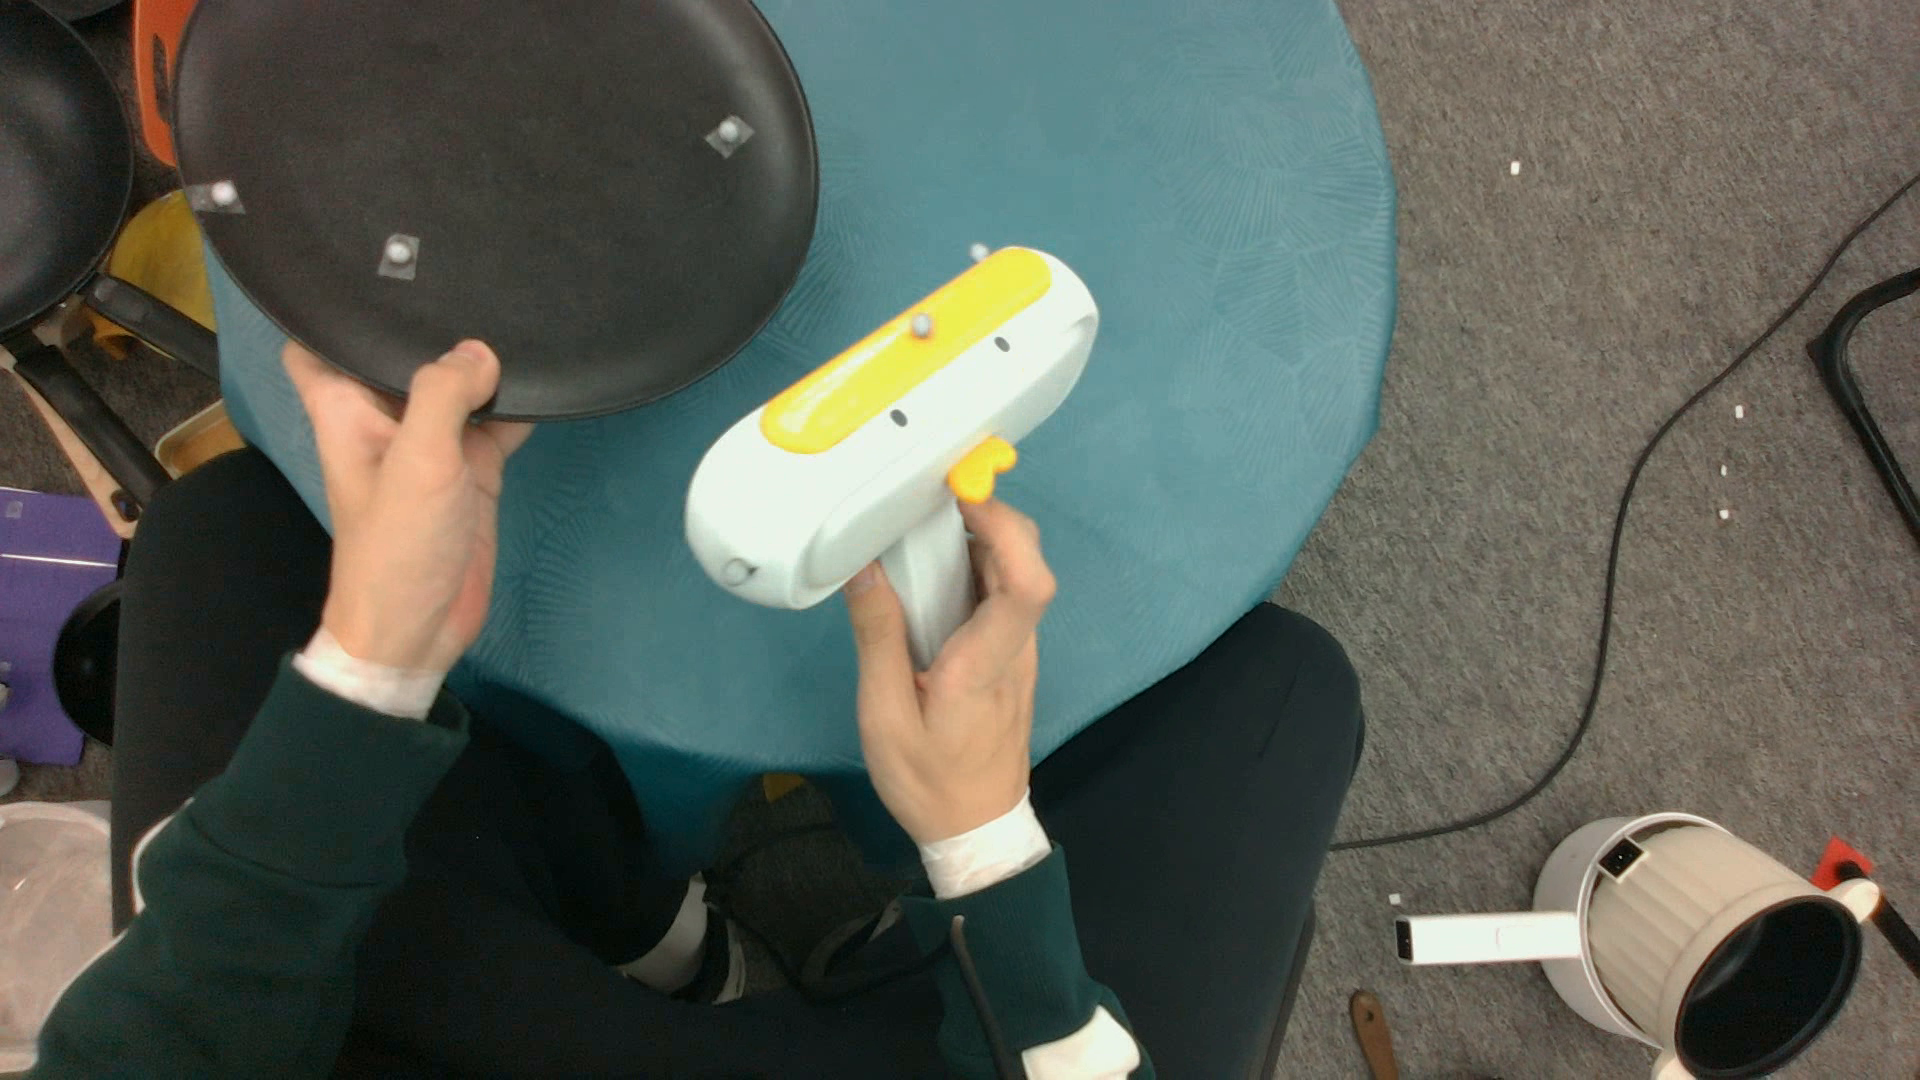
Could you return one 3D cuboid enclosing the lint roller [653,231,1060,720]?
[{"bbox_3d":[-0.026,-0.003,0.539,0.074,0.191,0.194,25,52,20],"label":"lint roller"}]

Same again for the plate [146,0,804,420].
[{"bbox_3d":[-0.183,-0.161,0.549,0.245,0.023,0.245,6,74,-20],"label":"plate"}]
